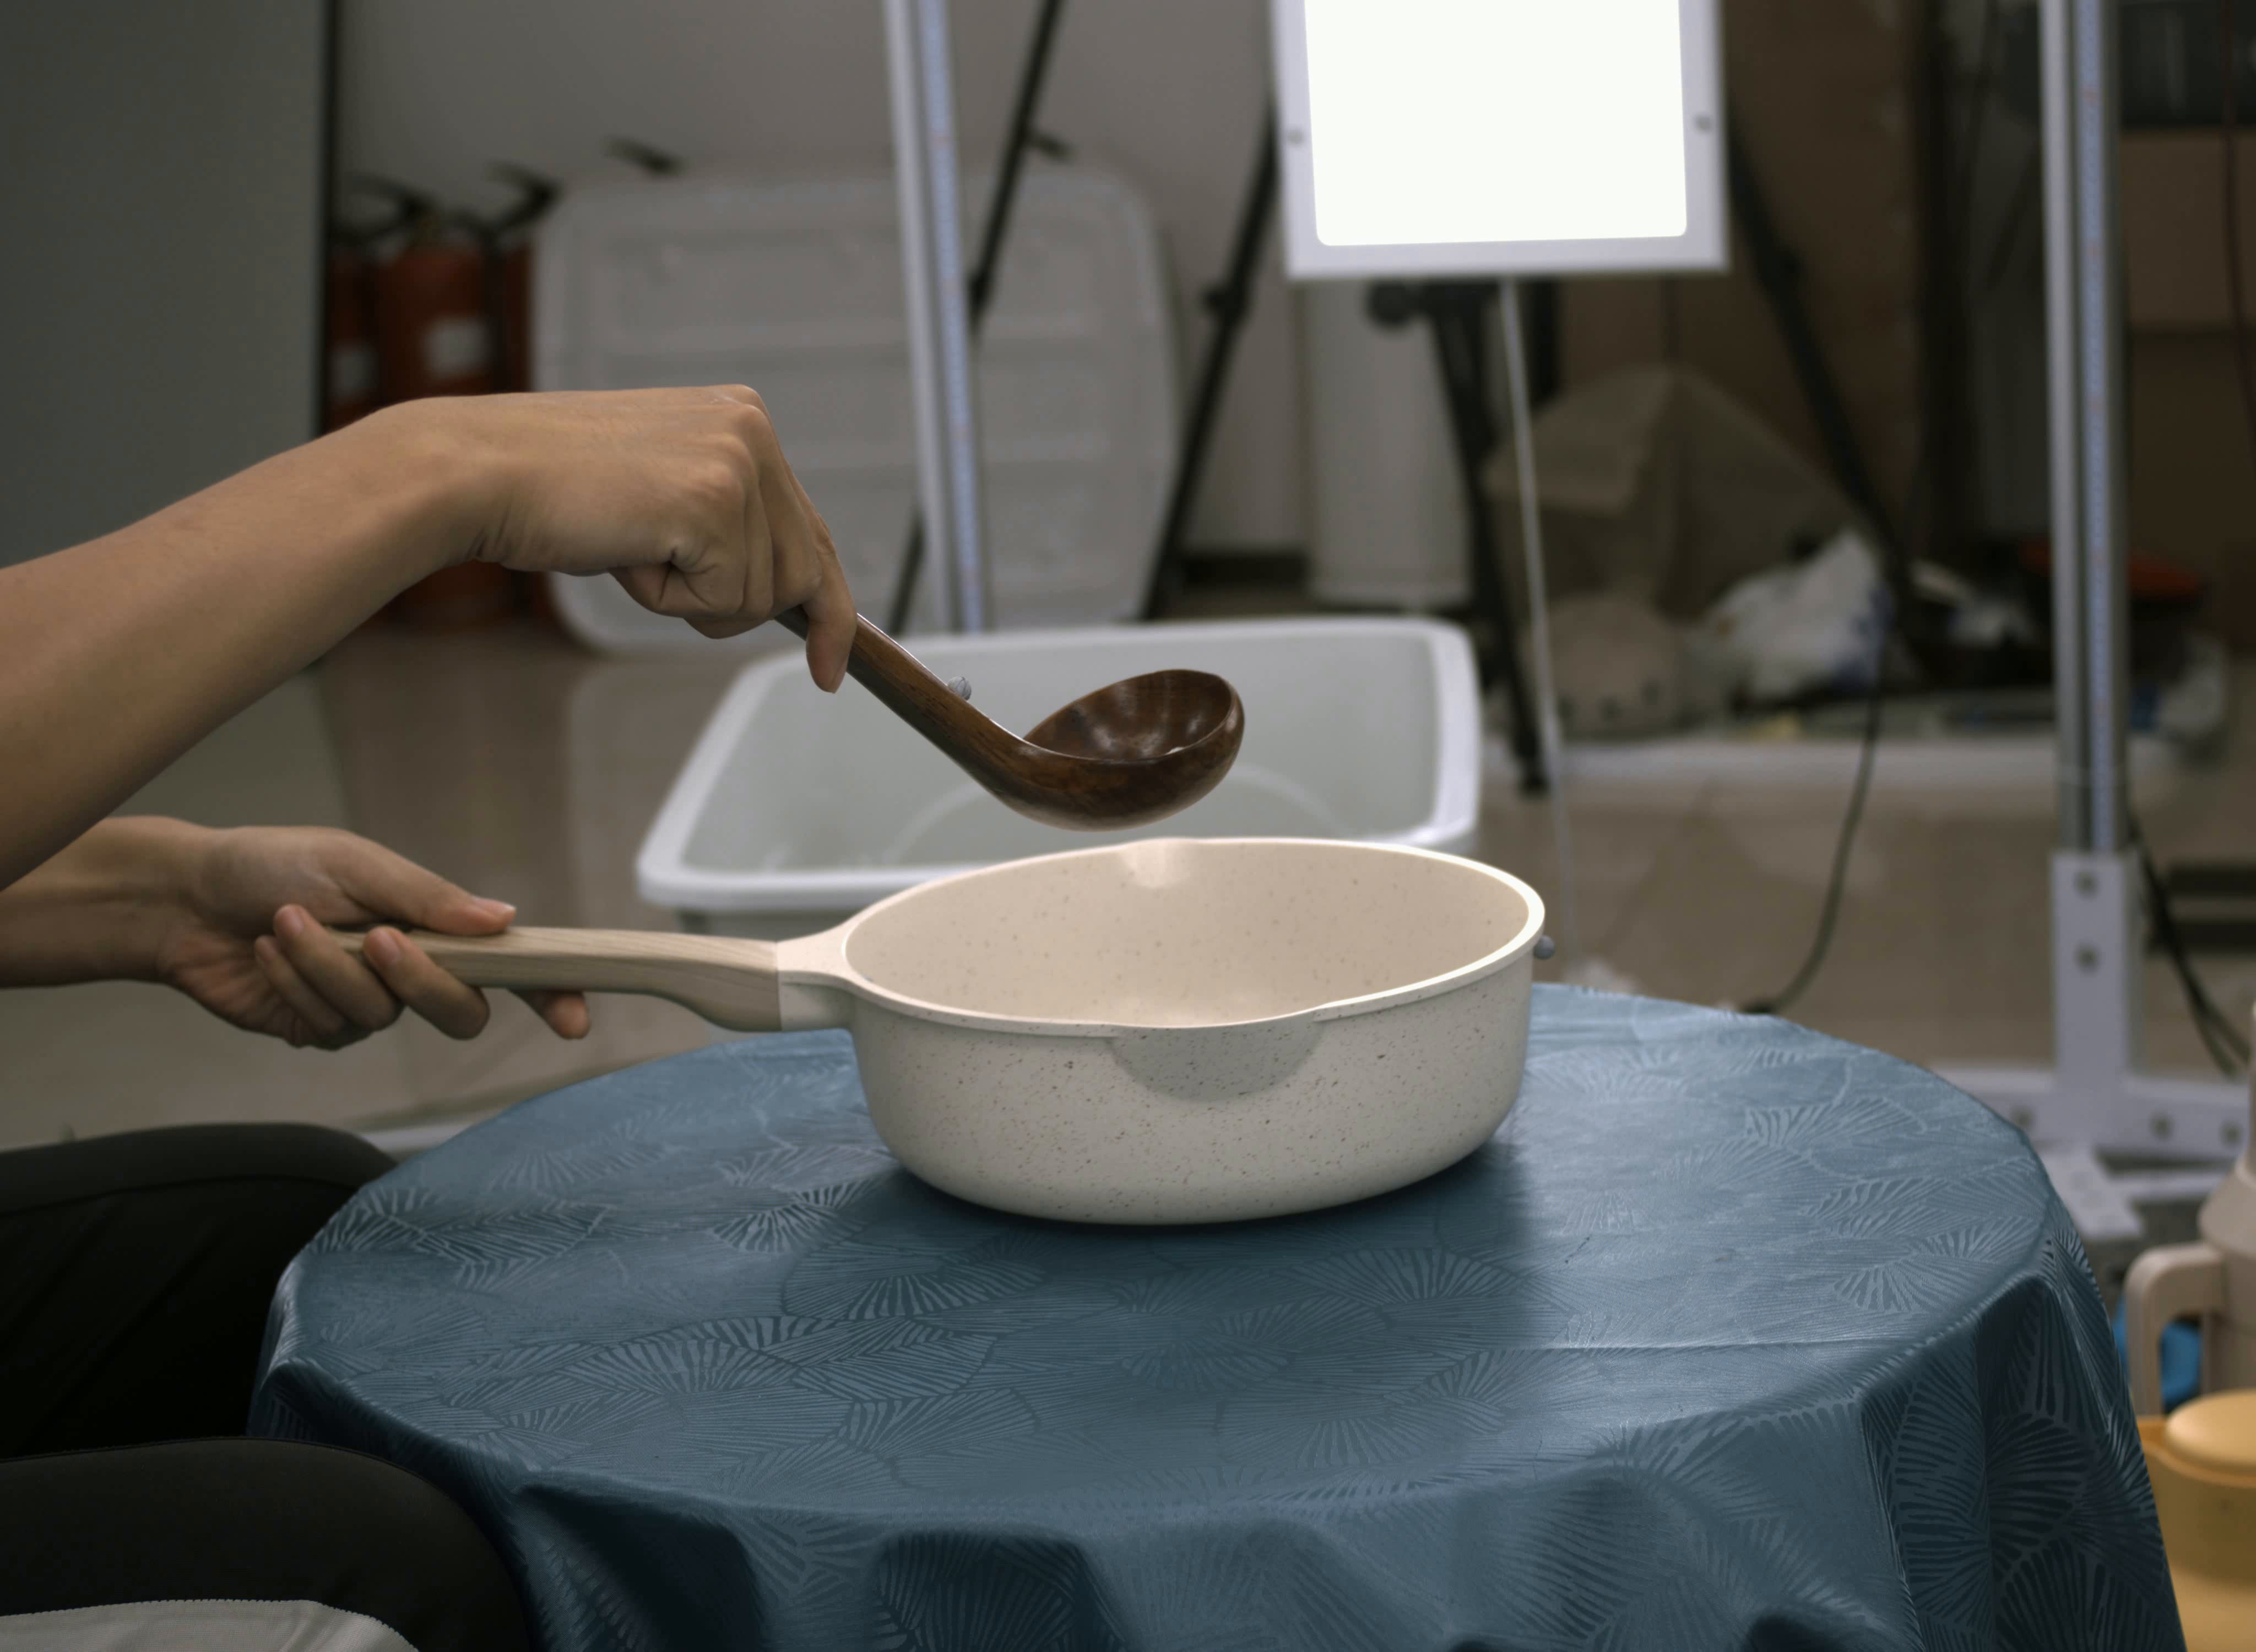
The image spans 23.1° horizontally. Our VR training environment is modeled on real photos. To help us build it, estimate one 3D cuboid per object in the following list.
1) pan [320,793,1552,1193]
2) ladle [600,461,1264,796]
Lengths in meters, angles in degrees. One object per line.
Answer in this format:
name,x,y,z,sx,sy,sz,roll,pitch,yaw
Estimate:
pan,-0.064,0.062,1.952,0.433,0.102,0.263,-6,15,-1
ladle,-0.058,-0.079,1.732,0.084,0.076,0.269,-8,-29,40
